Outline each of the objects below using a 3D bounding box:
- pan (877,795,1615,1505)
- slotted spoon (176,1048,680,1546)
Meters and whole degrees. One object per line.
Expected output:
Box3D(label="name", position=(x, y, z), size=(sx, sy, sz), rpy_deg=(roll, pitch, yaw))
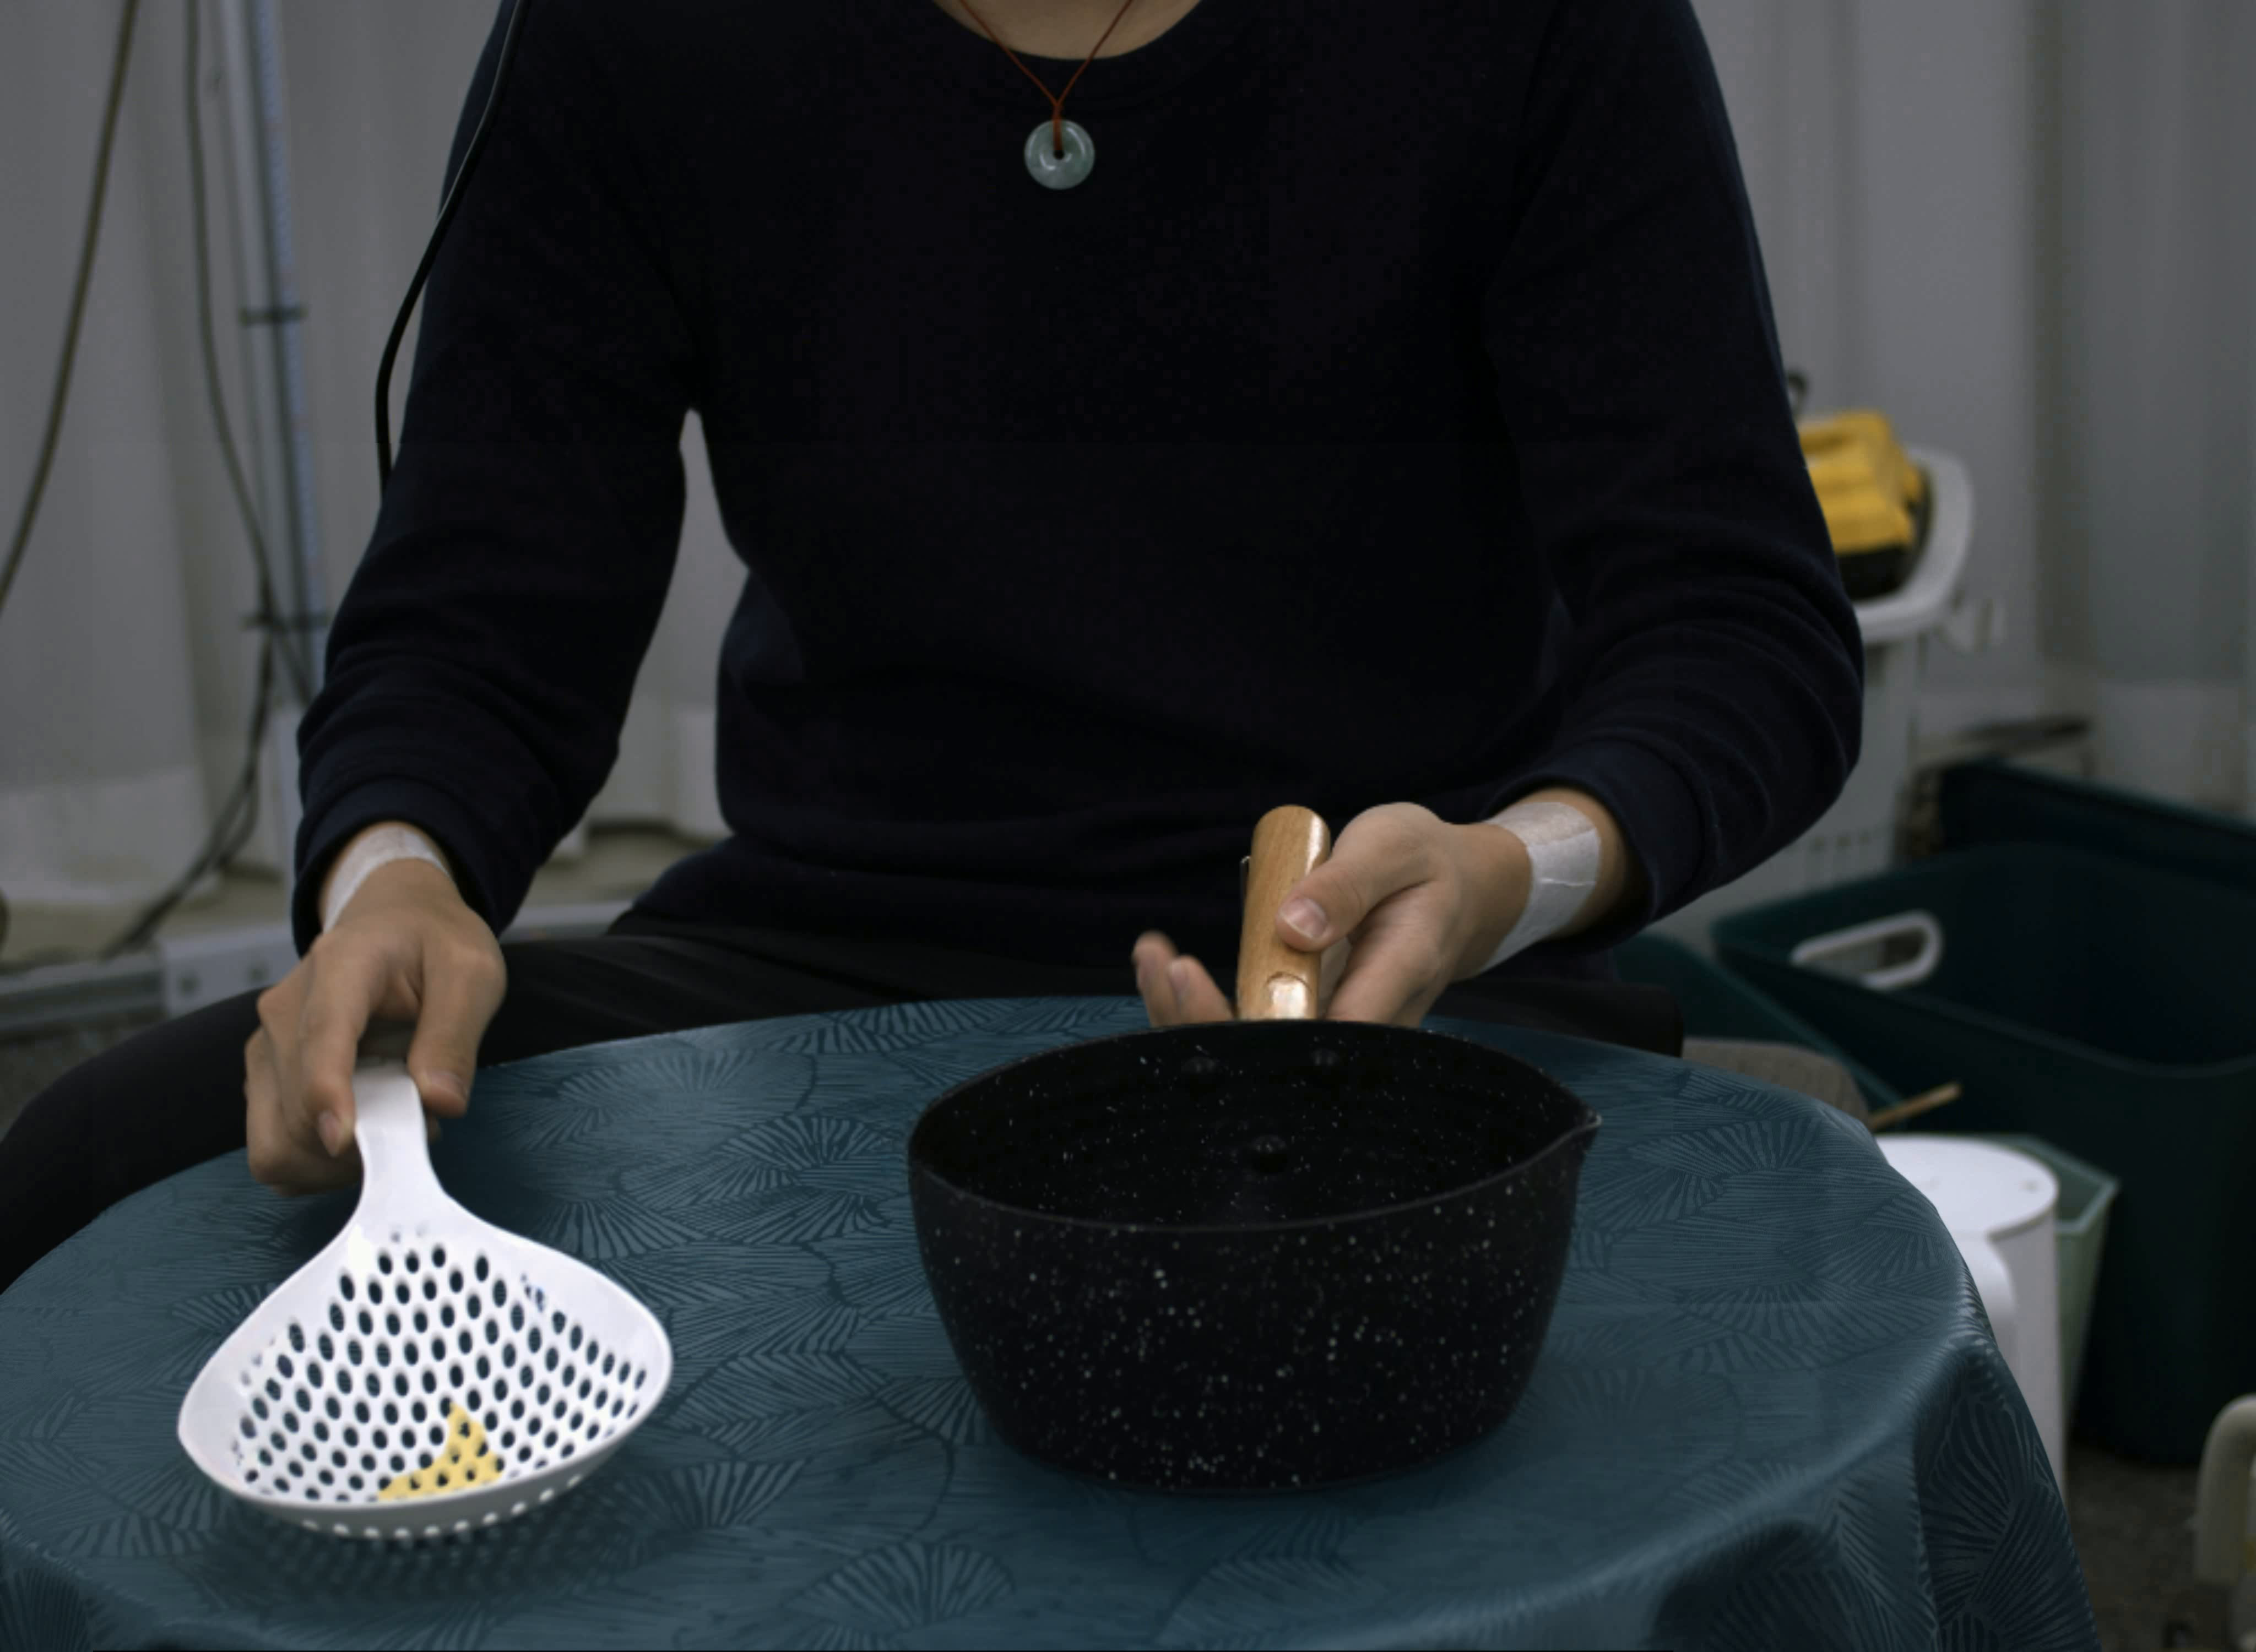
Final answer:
Box3D(label="pan", position=(0.039, 0.089, 1.597), size=(0.207, 0.108, 0.345), rpy_deg=(-3, 16, 5))
Box3D(label="slotted spoon", position=(-0.211, 0.122, 1.582), size=(0.136, 0.050, 0.352), rpy_deg=(-12, 26, -9))
